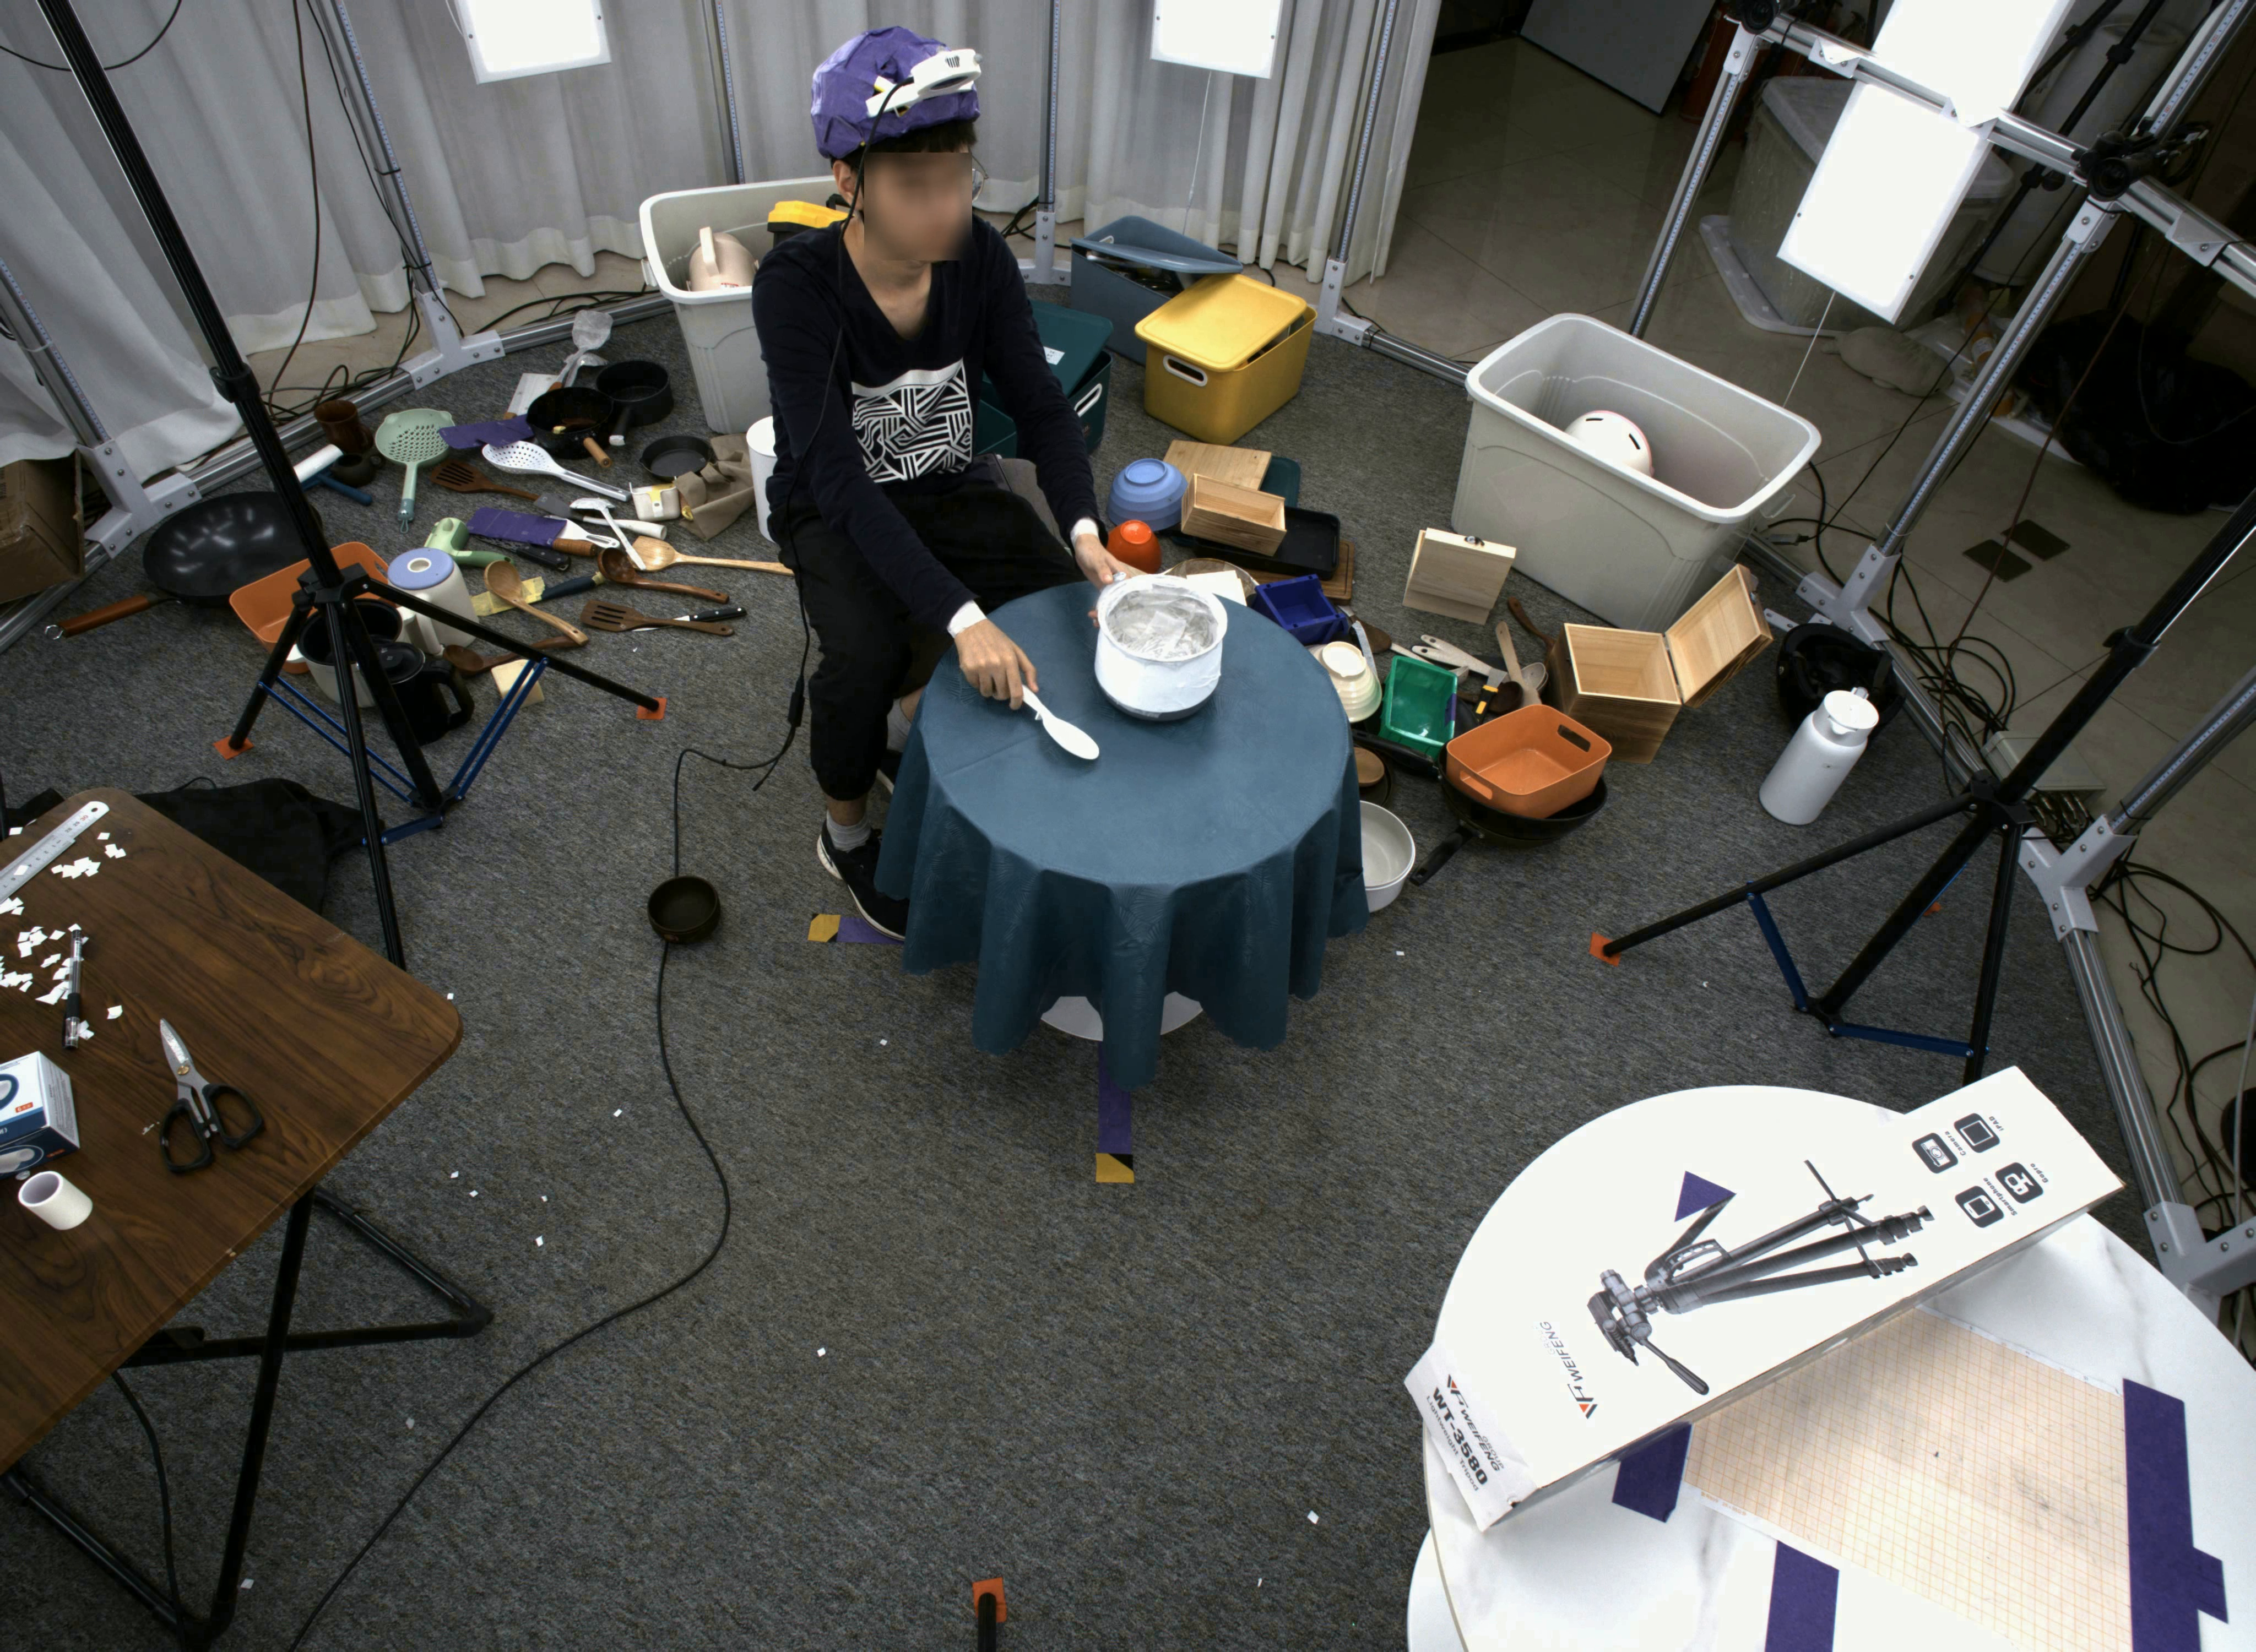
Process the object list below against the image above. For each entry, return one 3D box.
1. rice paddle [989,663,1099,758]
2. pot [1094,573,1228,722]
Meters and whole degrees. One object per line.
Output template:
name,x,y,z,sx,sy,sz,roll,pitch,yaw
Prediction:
rice paddle,-0.114,-0.156,1.769,0.208,0.029,0.069,42,29,26
pot,0.028,-0.261,1.812,0.179,0.133,0.238,-25,54,-26
